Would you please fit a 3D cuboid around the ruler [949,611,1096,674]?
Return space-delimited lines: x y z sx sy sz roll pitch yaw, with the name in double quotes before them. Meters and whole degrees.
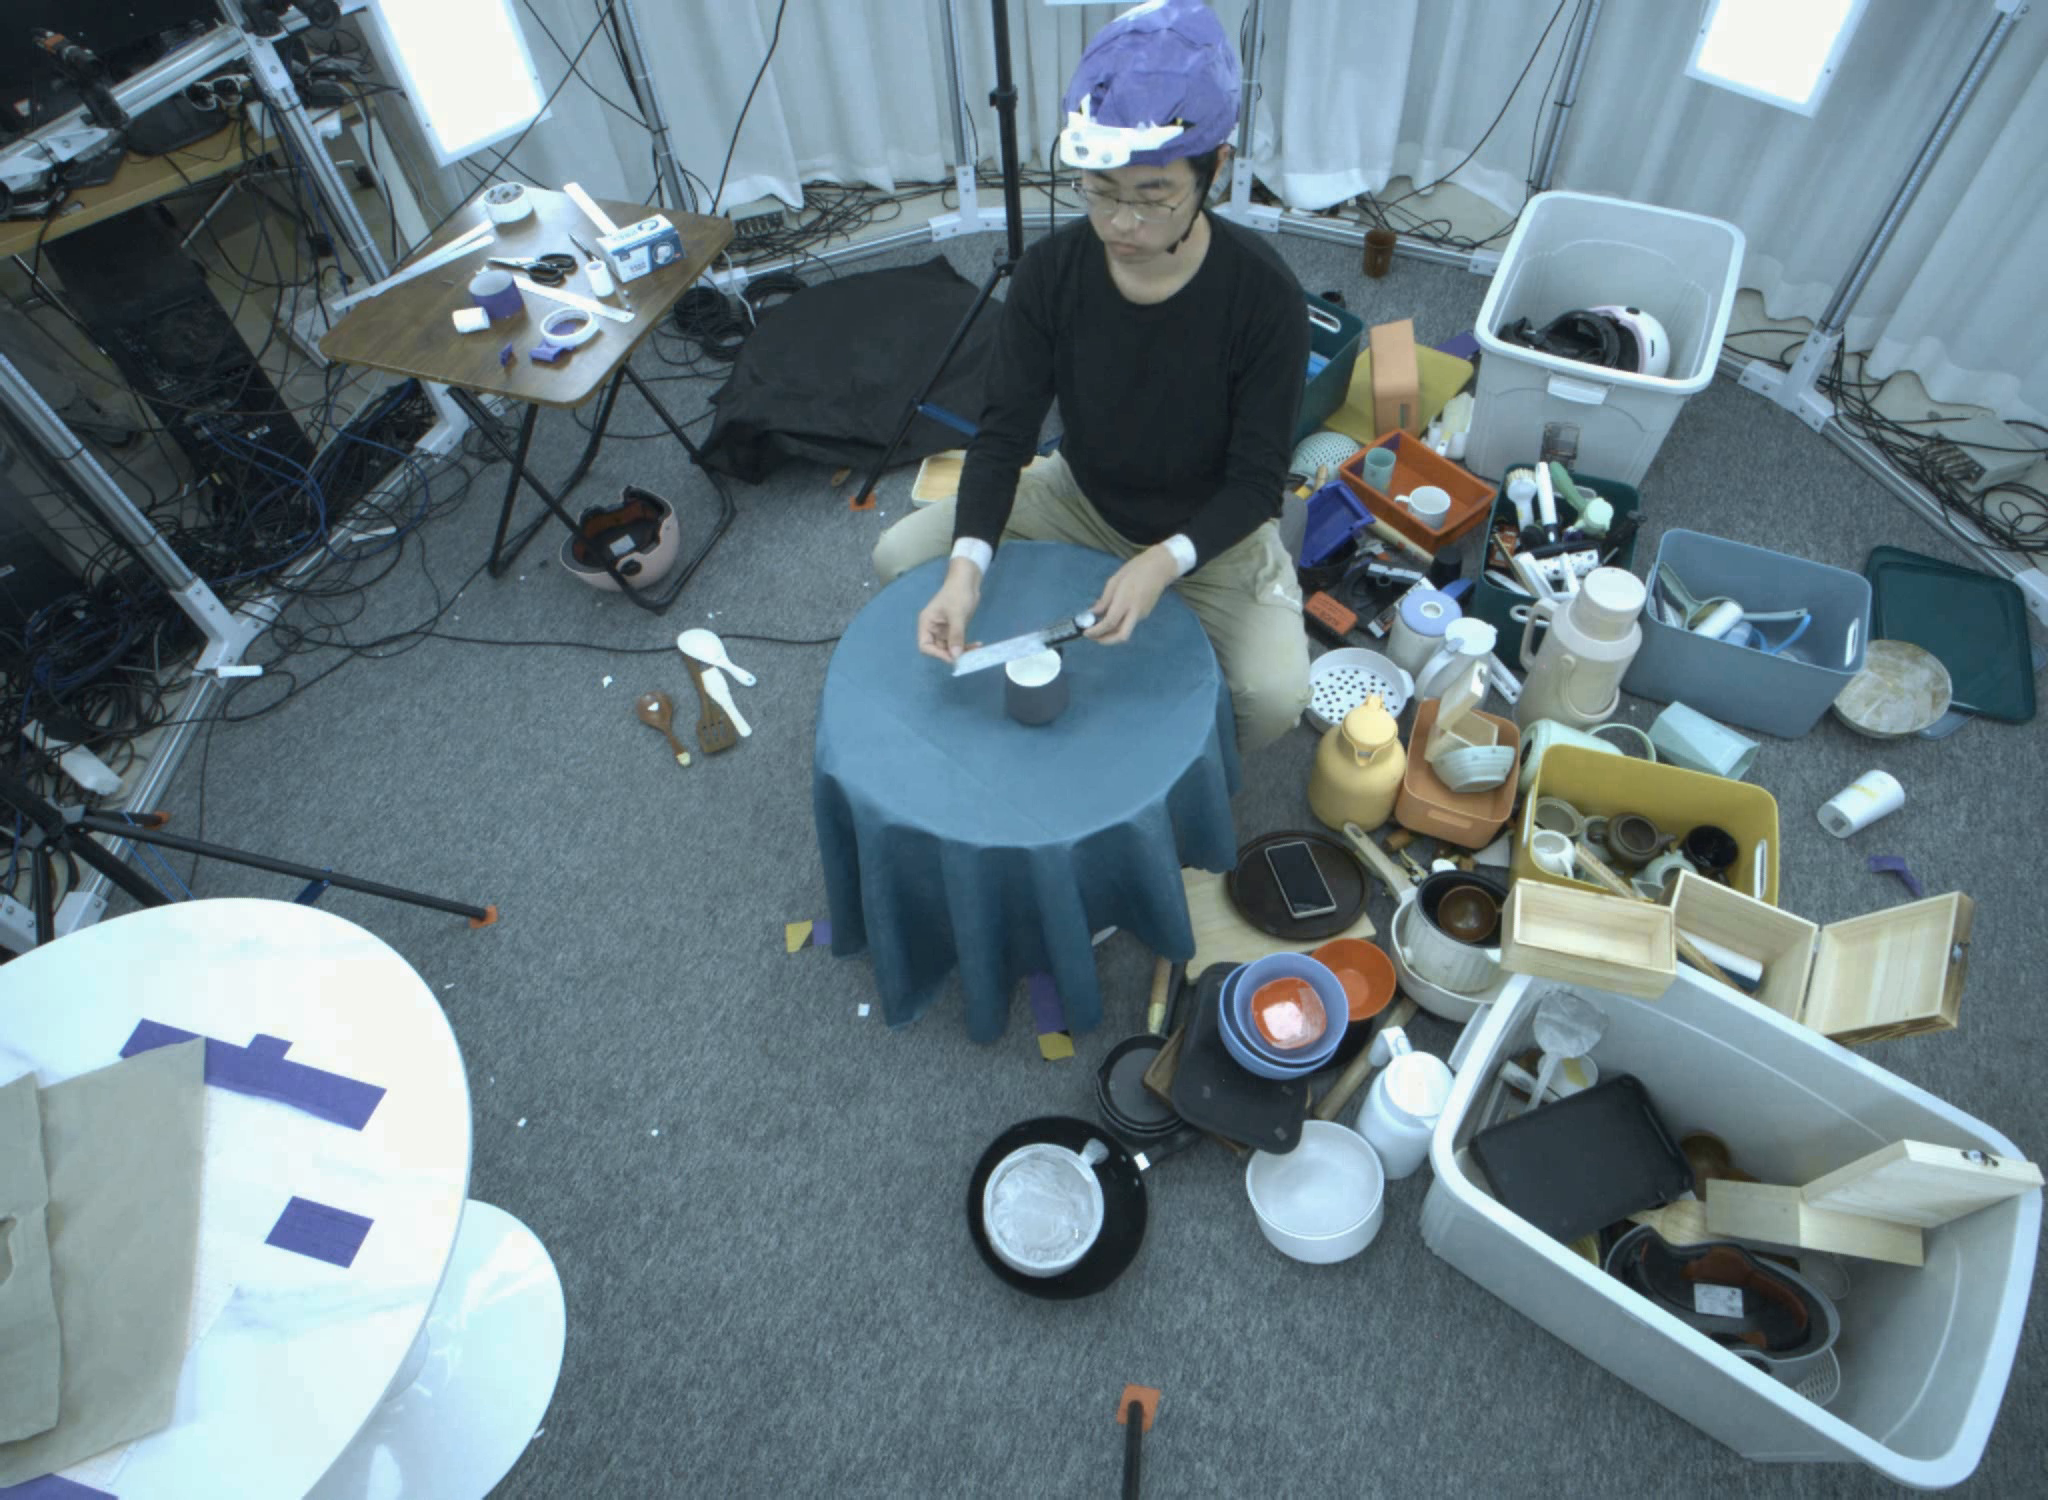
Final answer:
"ruler" -0.002 -0.157 1.770 0.219 0.024 0.037 -16 55 -8

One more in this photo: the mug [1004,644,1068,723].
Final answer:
"mug" 0.024 -0.108 1.806 0.092 0.091 0.123 24 61 18
